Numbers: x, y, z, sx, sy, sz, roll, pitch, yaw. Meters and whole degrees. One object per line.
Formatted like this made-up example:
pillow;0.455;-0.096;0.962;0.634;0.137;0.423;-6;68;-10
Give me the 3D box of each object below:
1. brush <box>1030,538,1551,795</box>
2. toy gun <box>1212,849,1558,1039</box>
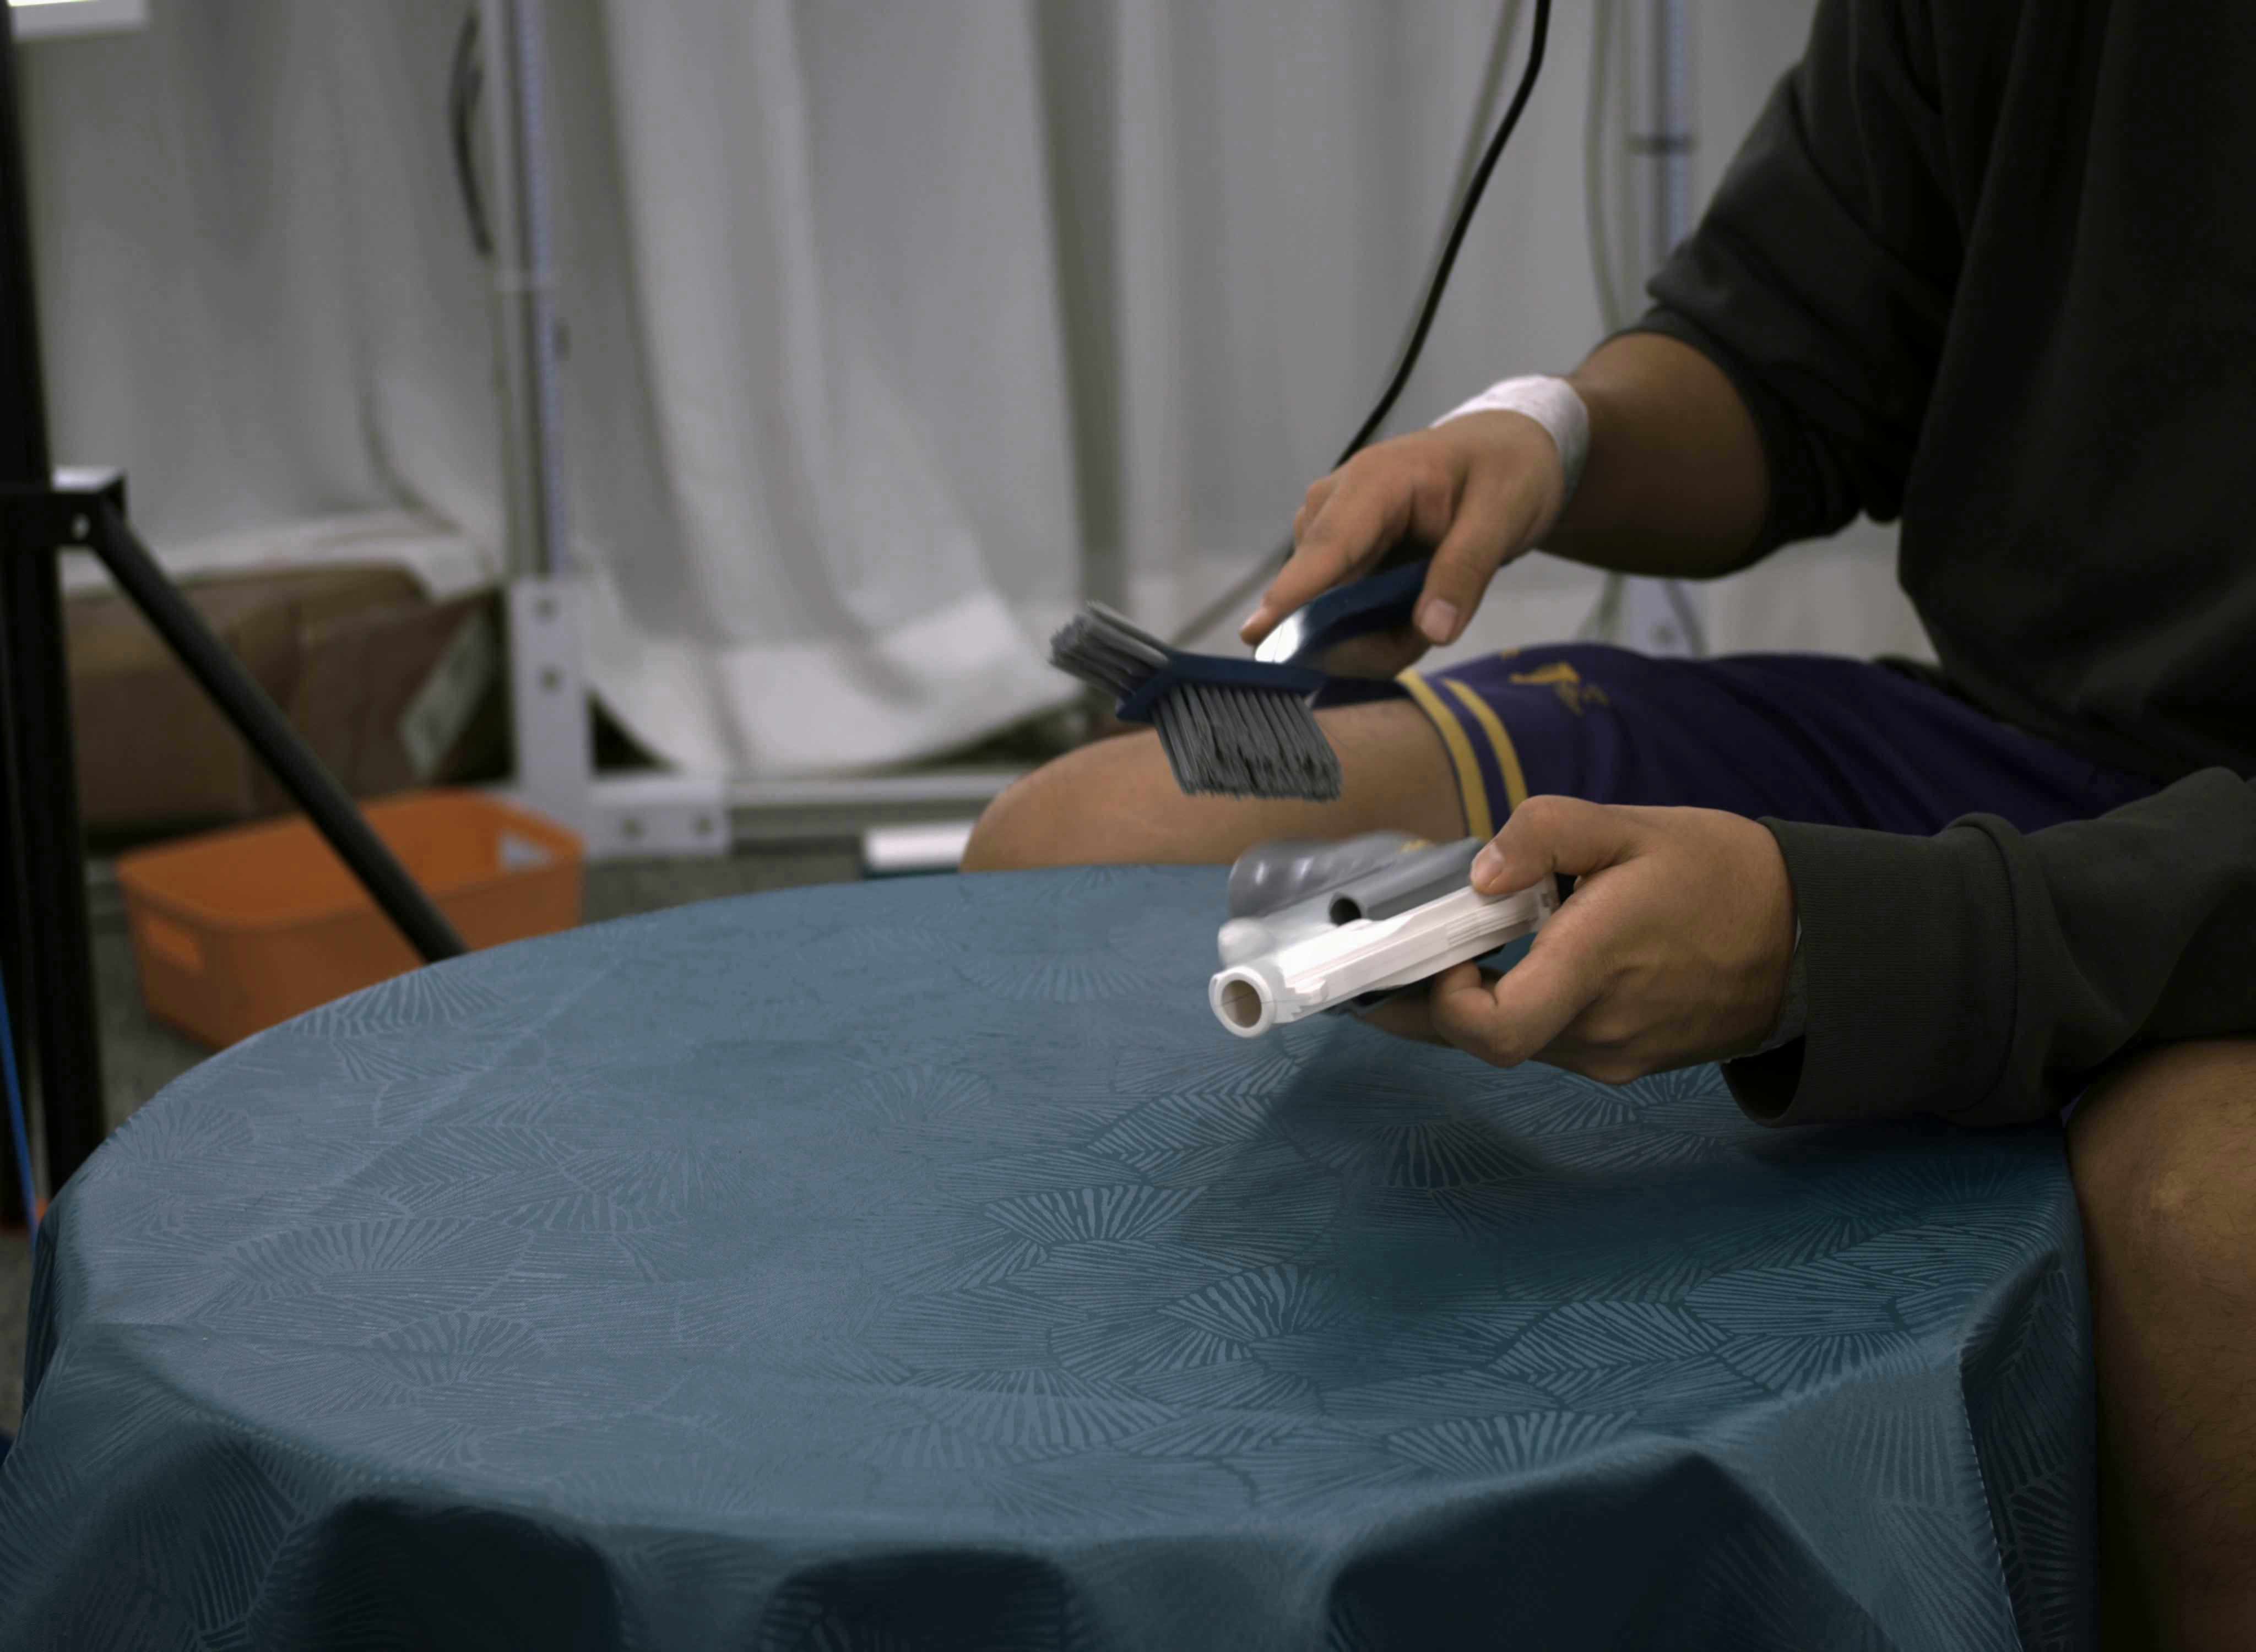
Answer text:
brush;0.061;-0.069;1.716;0.034;0.096;0.269;-45;-5;30
toy gun;0.053;0.035;1.557;0.144;0.039;0.204;-9;5;37
